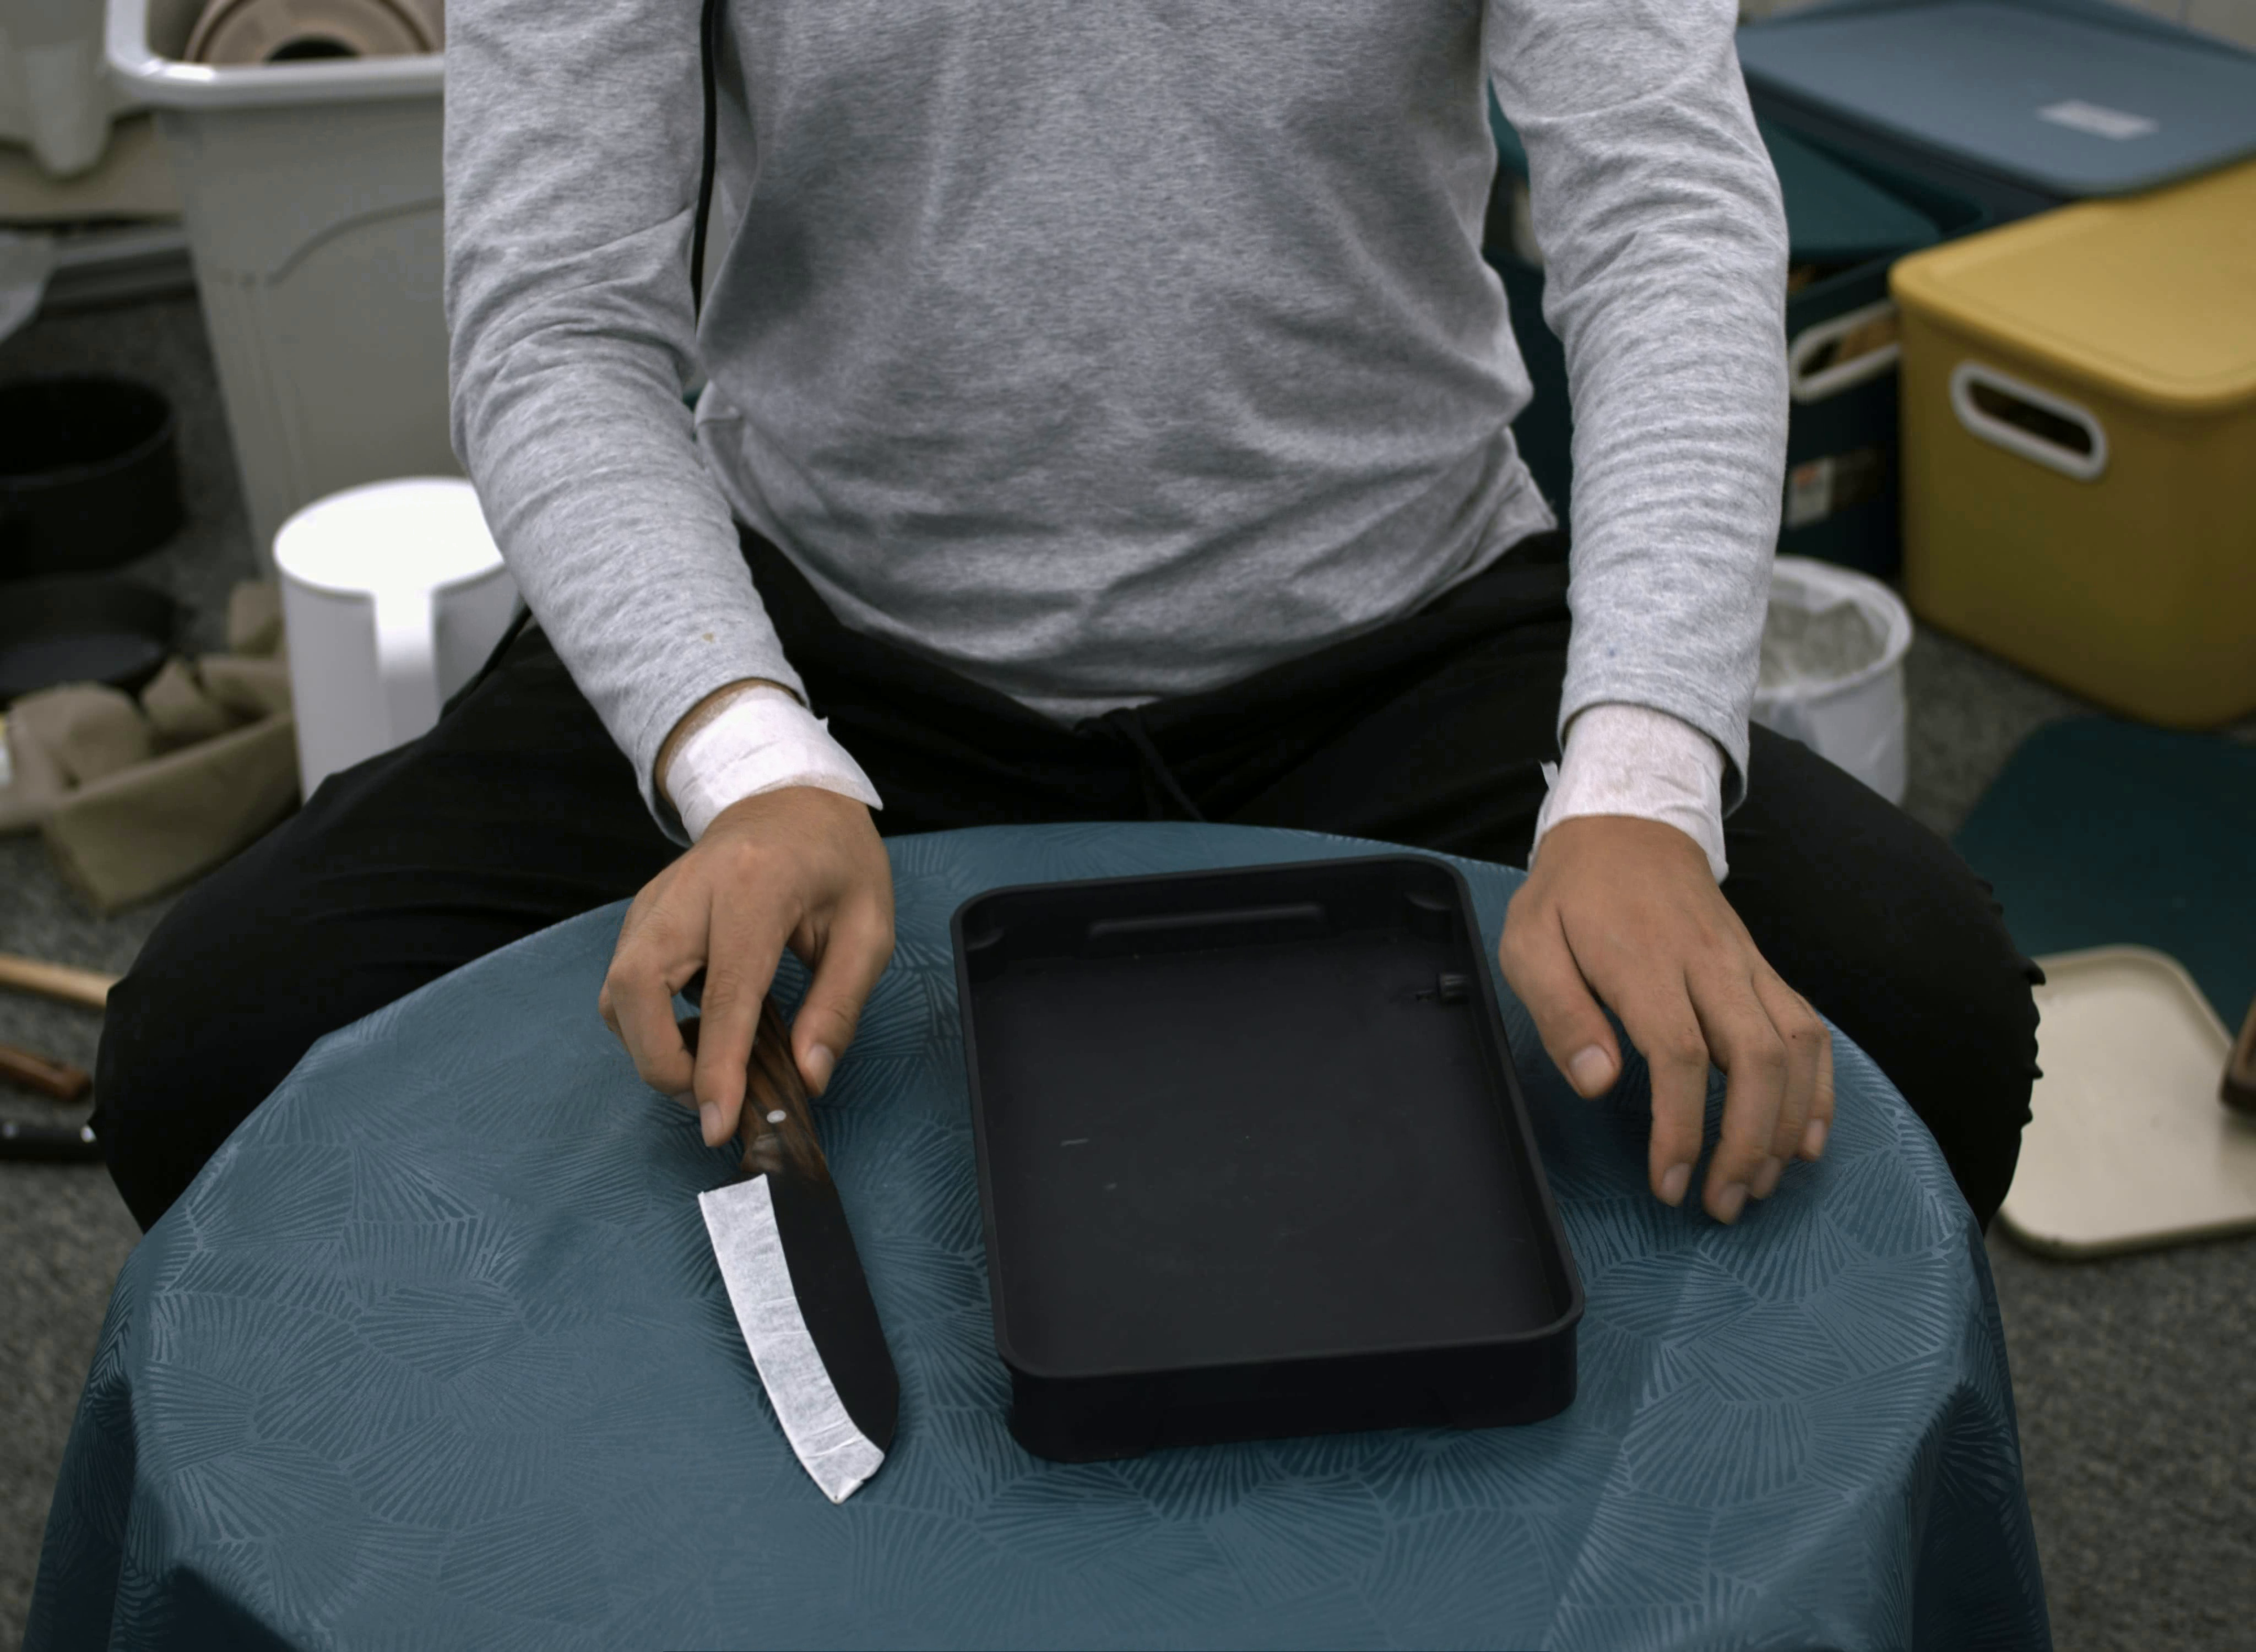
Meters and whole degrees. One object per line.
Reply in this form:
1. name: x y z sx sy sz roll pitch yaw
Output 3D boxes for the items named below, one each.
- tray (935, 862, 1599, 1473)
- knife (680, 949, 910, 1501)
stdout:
1. tray: 0.039 0.106 1.850 0.184 0.036 0.322 -5 27 -5
2. knife: -0.113 0.127 1.825 0.050 0.020 0.293 -15 34 -4
